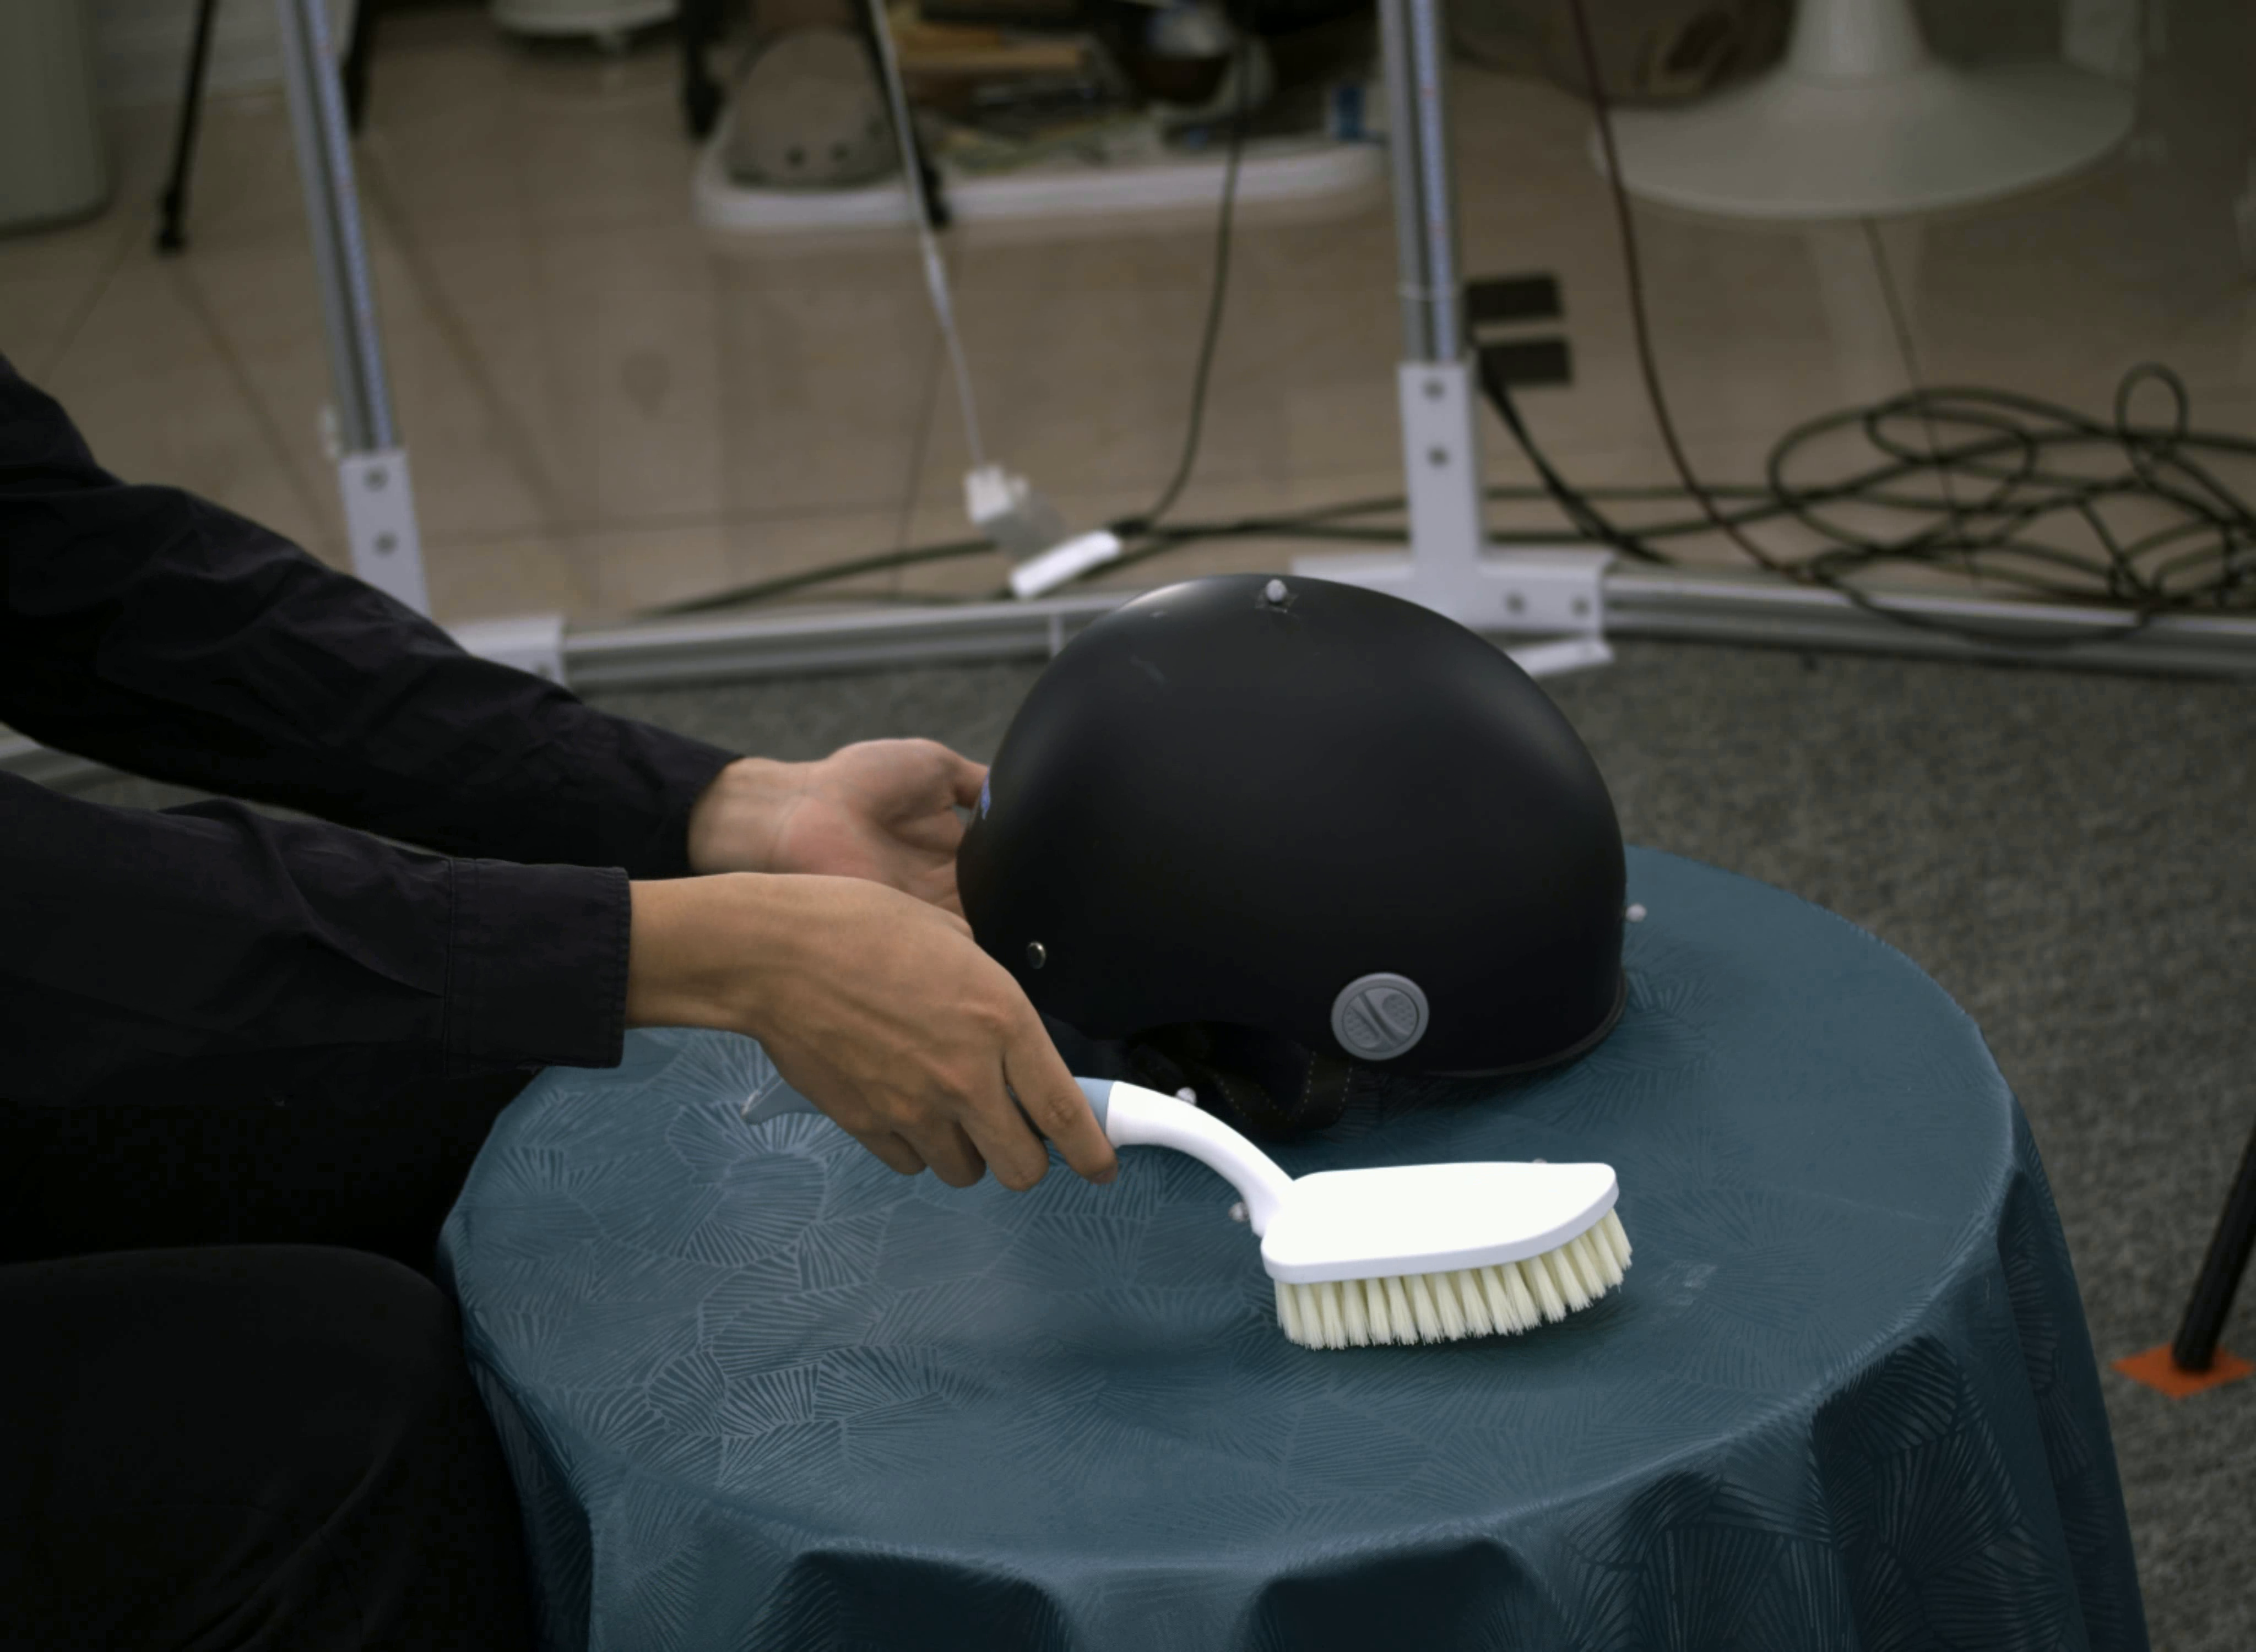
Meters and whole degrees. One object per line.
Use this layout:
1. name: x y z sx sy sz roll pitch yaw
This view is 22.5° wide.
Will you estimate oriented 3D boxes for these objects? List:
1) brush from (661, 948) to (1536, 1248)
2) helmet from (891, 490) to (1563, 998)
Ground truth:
1. brush: -0.012 0.107 2.076 0.324 0.084 0.083 7 -9 9
2. helmet: 0.045 -0.045 2.244 0.272 0.170 0.226 8 30 5
